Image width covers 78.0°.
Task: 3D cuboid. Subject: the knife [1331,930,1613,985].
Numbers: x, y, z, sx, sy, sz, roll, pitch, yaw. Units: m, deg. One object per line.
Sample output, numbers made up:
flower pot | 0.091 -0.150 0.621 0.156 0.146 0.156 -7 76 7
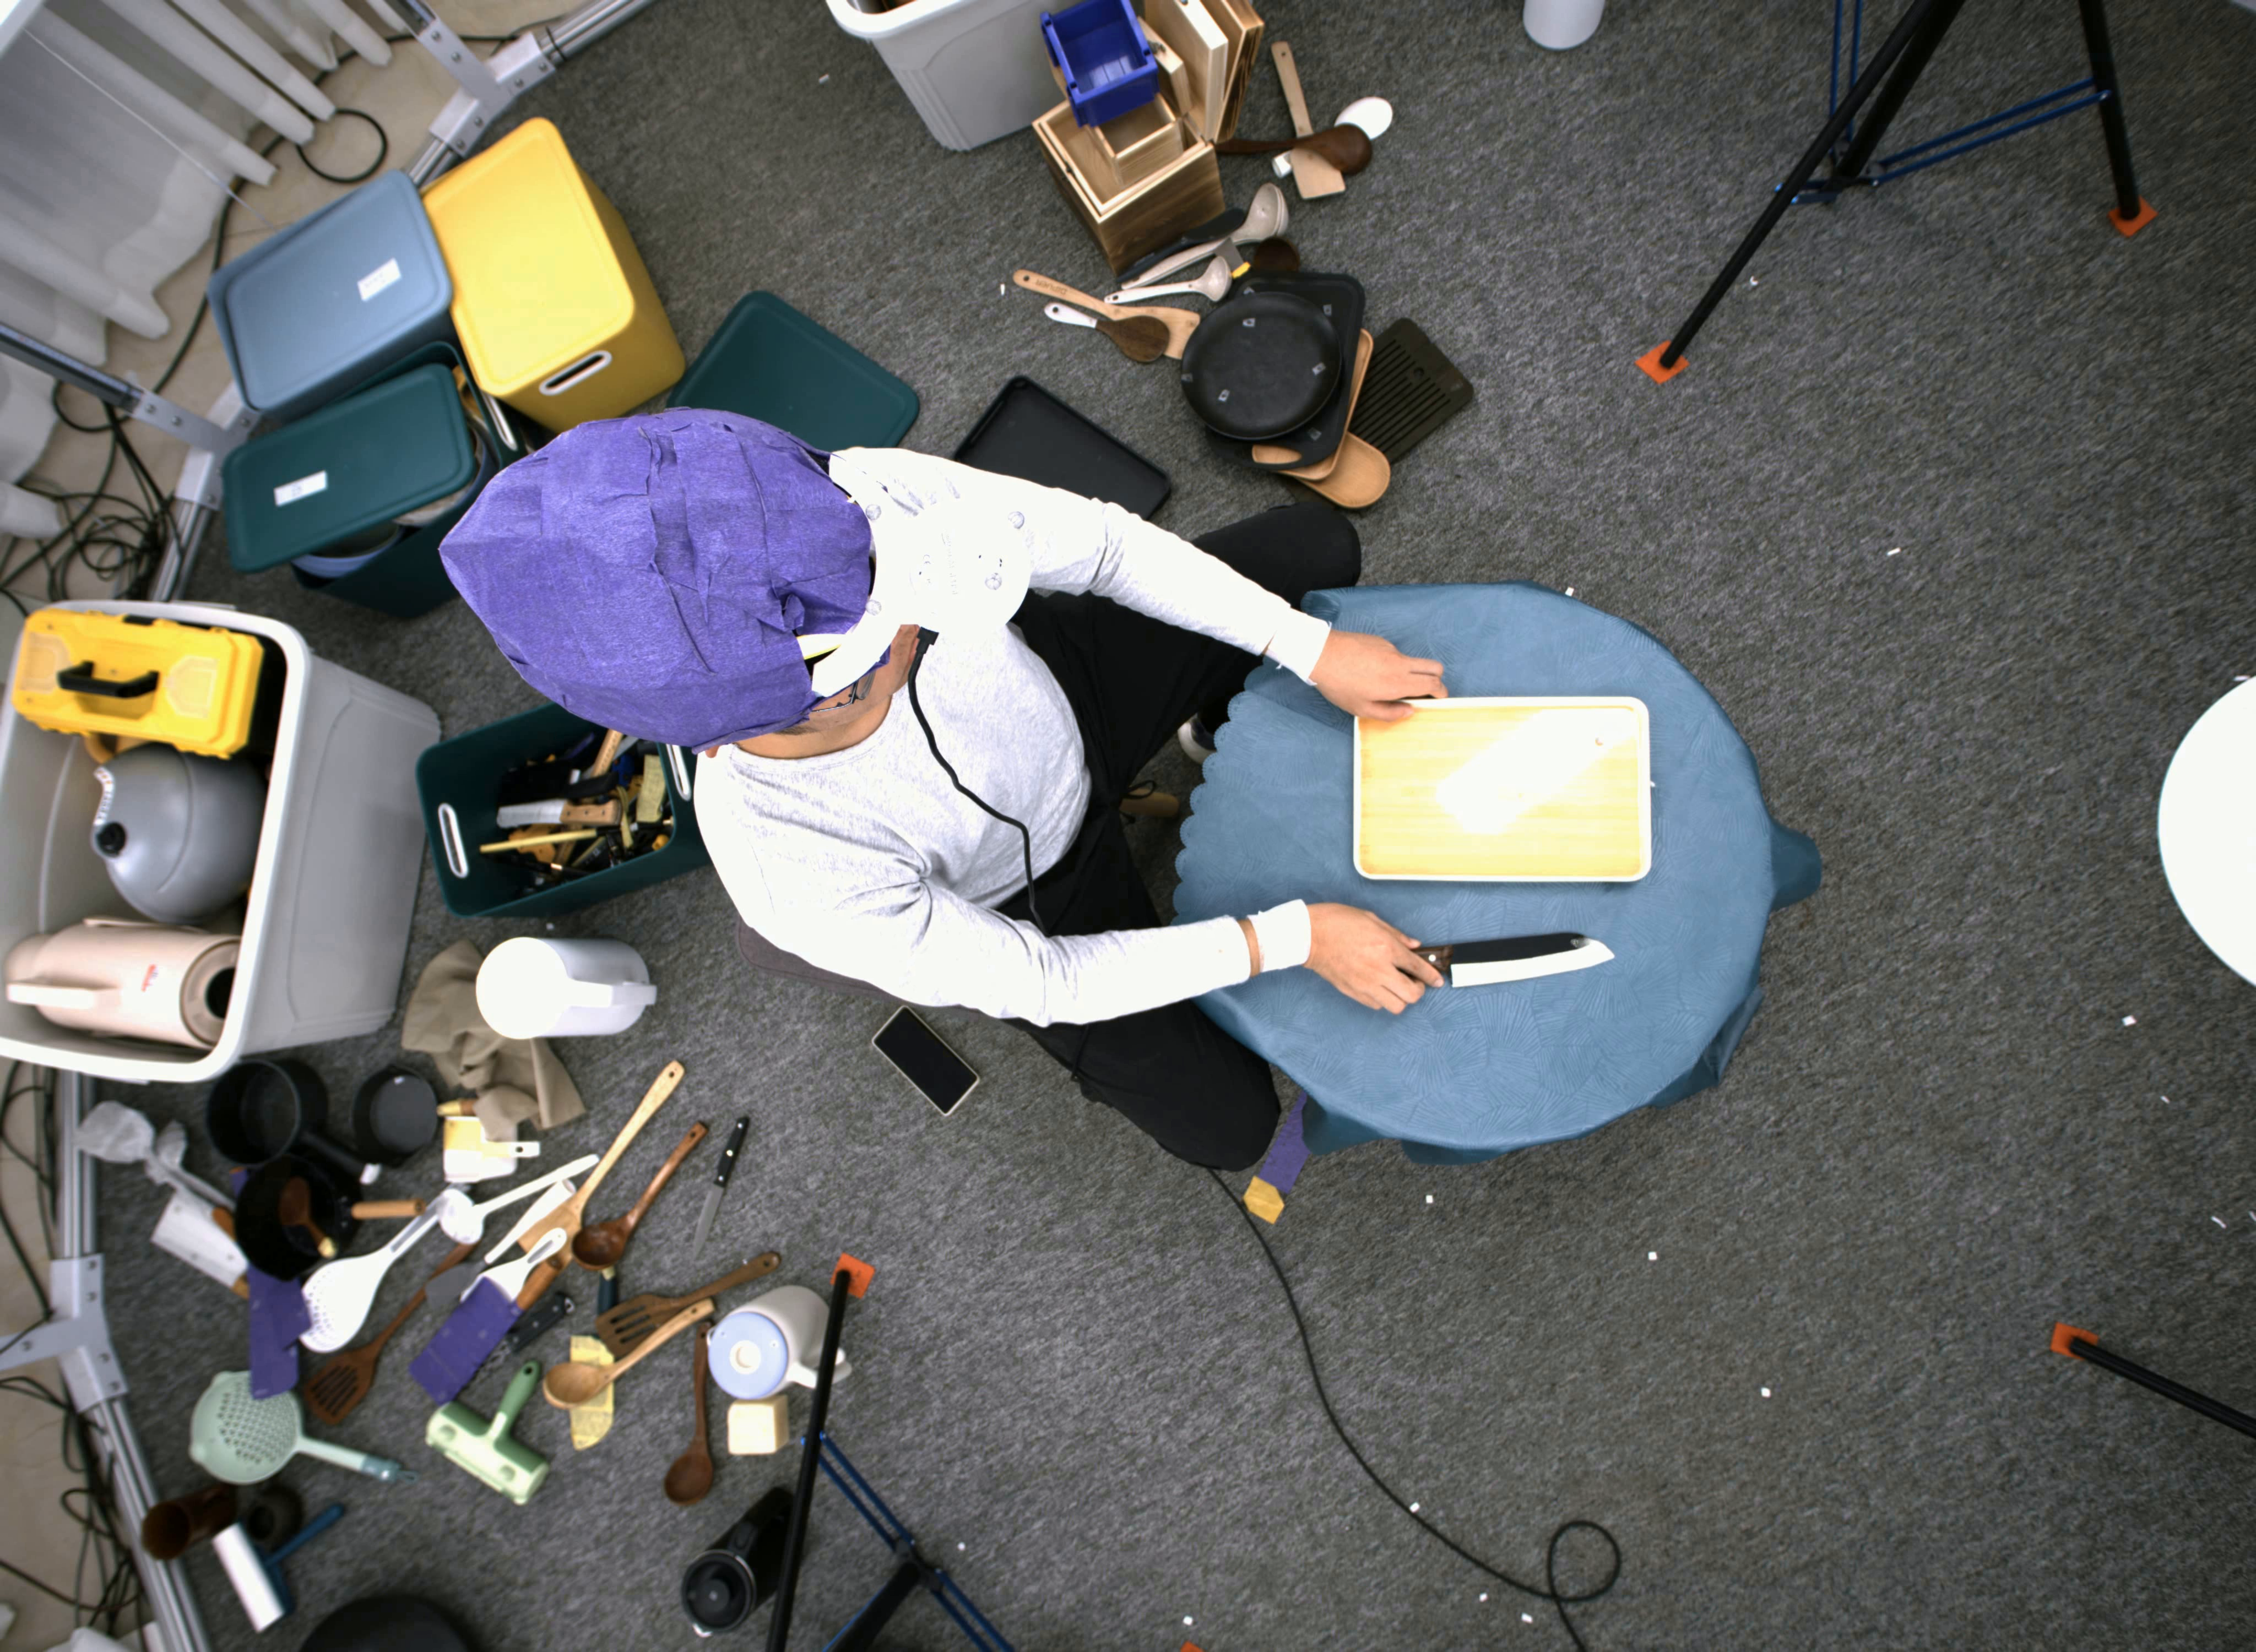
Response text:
knife | 0.357 0.138 1.432 0.290 0.020 0.050 -5 90 8

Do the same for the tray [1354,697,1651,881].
tray | 0.387 -0.041 1.431 0.301 0.027 0.191 0 87 11
